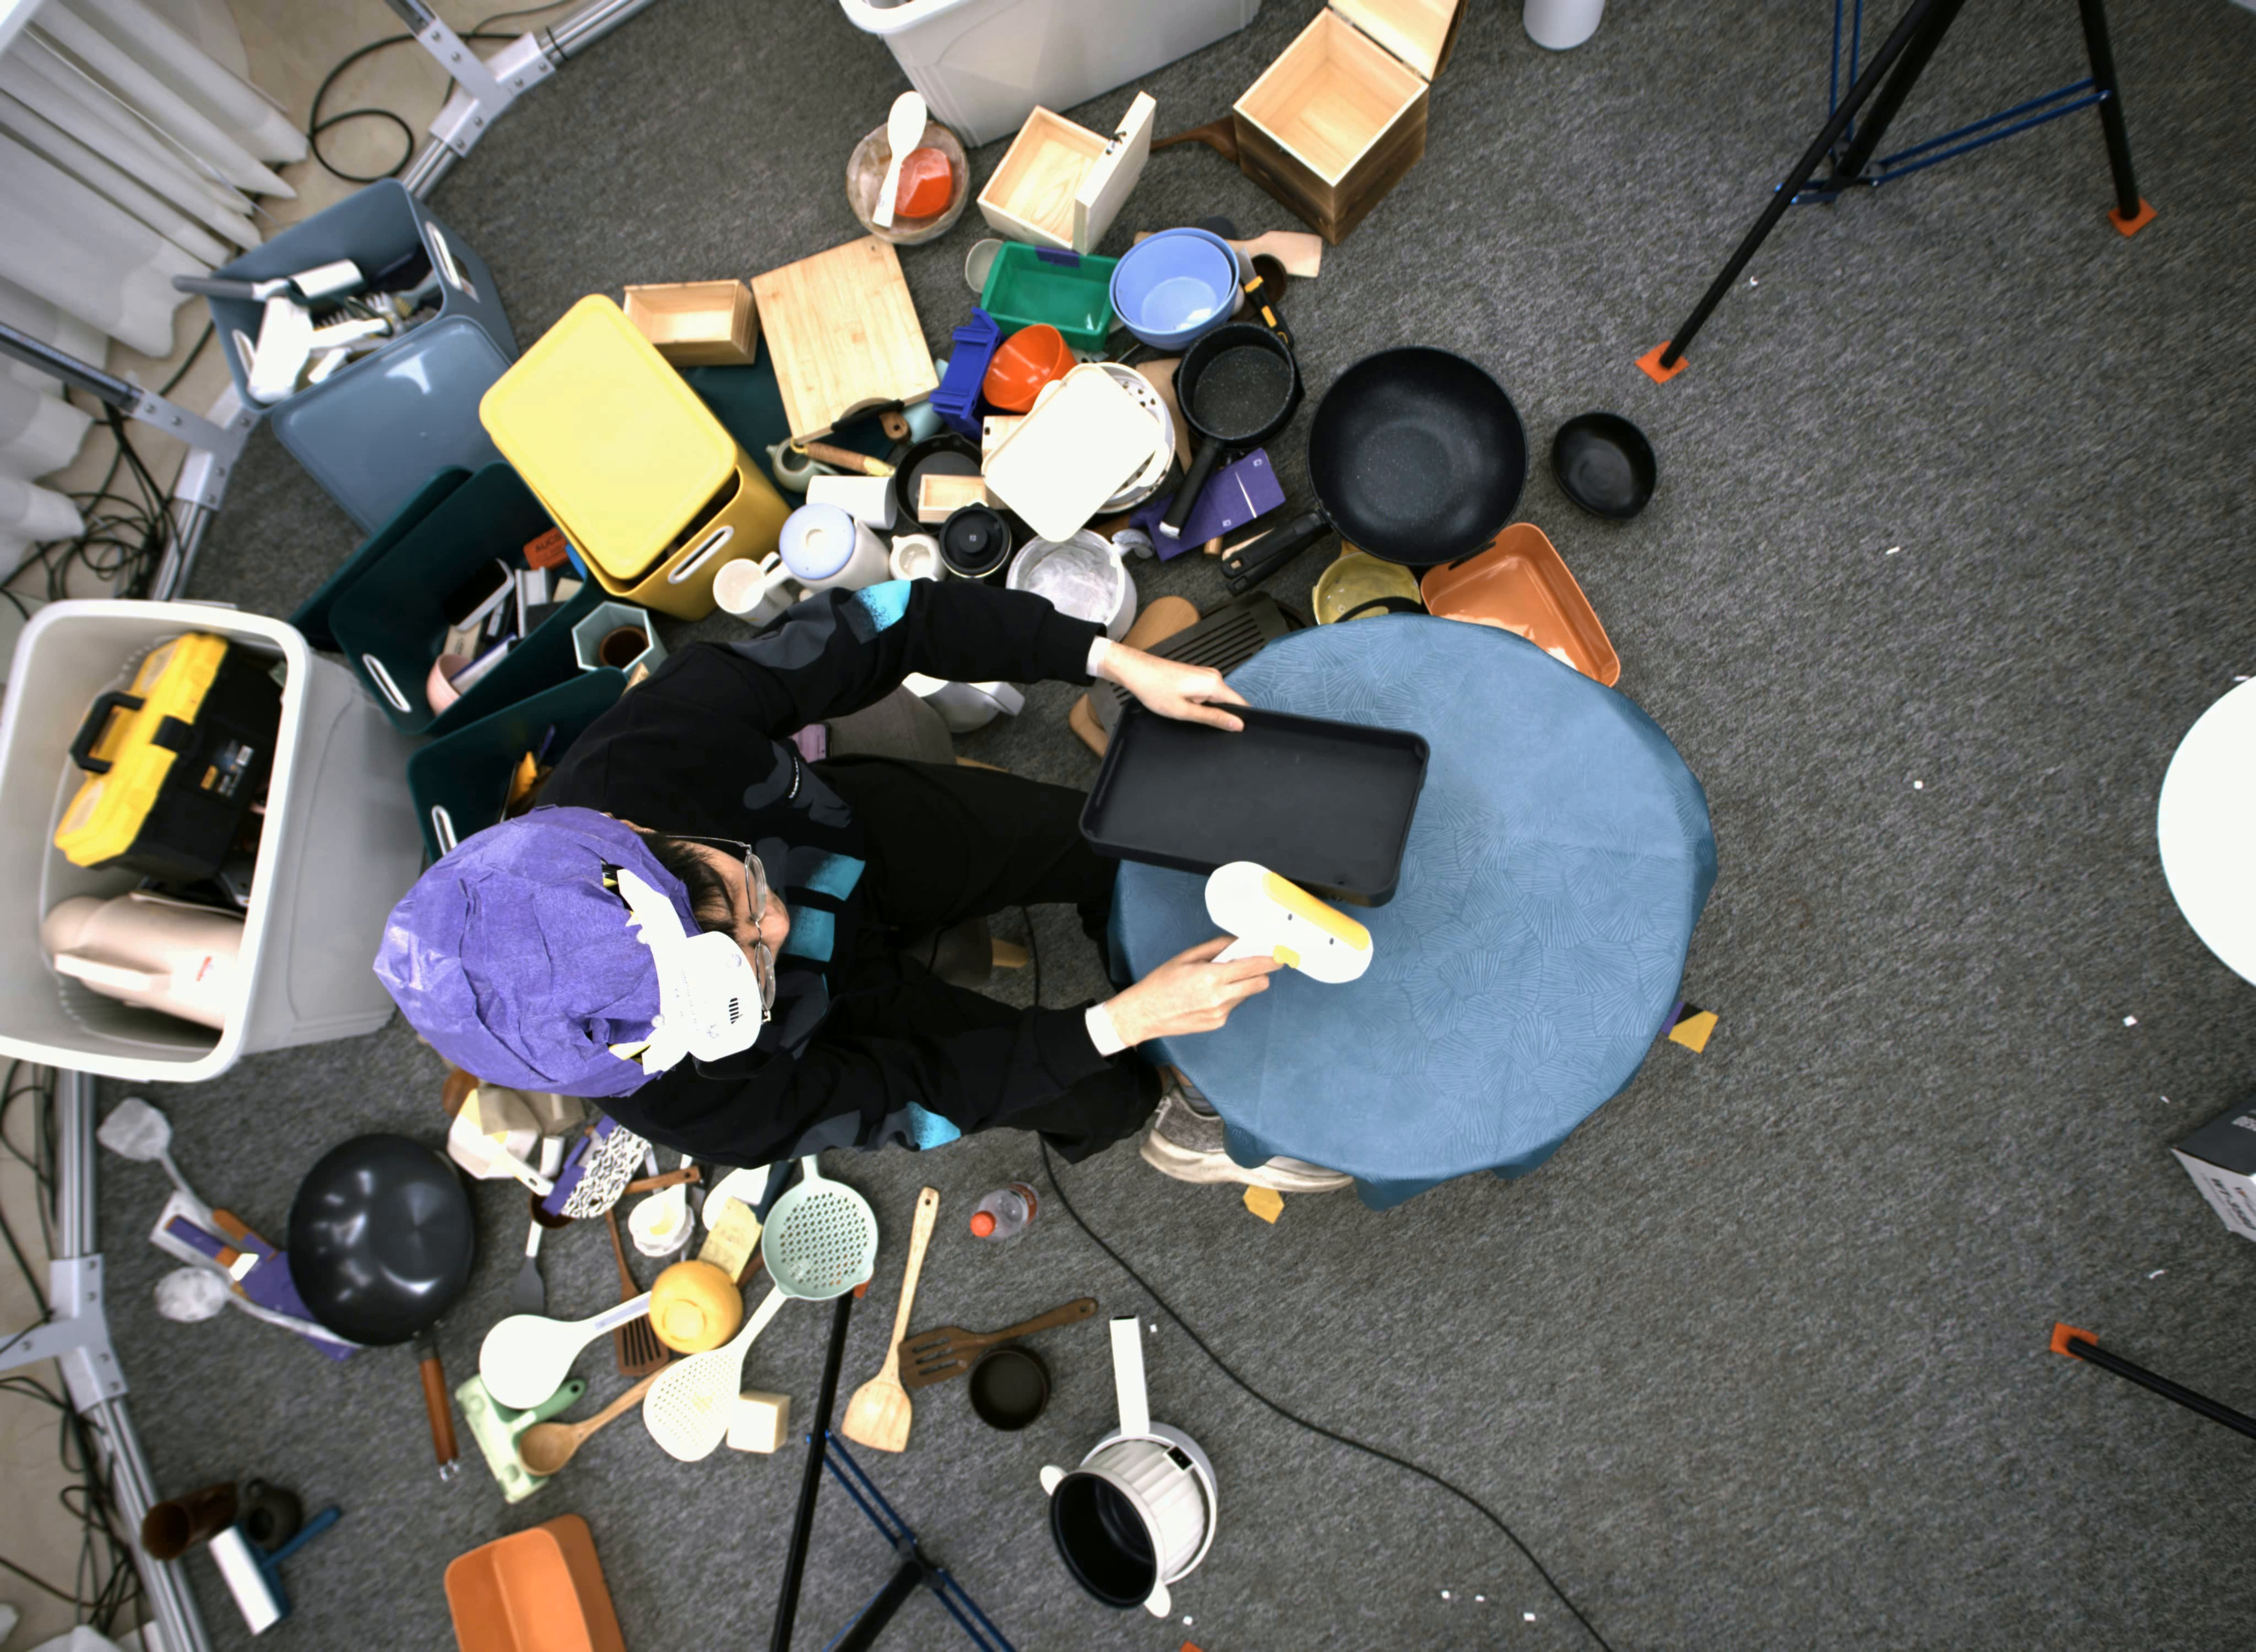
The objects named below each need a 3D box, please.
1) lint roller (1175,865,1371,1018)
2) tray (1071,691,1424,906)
[{"bbox_3d":[0.113,0.124,1.345,0.196,0.193,0.072,-36,43,41],"label":"lint roller"},{"bbox_3d":[0.117,-0.031,1.355,0.319,0.038,0.180,10,65,18],"label":"tray"}]
